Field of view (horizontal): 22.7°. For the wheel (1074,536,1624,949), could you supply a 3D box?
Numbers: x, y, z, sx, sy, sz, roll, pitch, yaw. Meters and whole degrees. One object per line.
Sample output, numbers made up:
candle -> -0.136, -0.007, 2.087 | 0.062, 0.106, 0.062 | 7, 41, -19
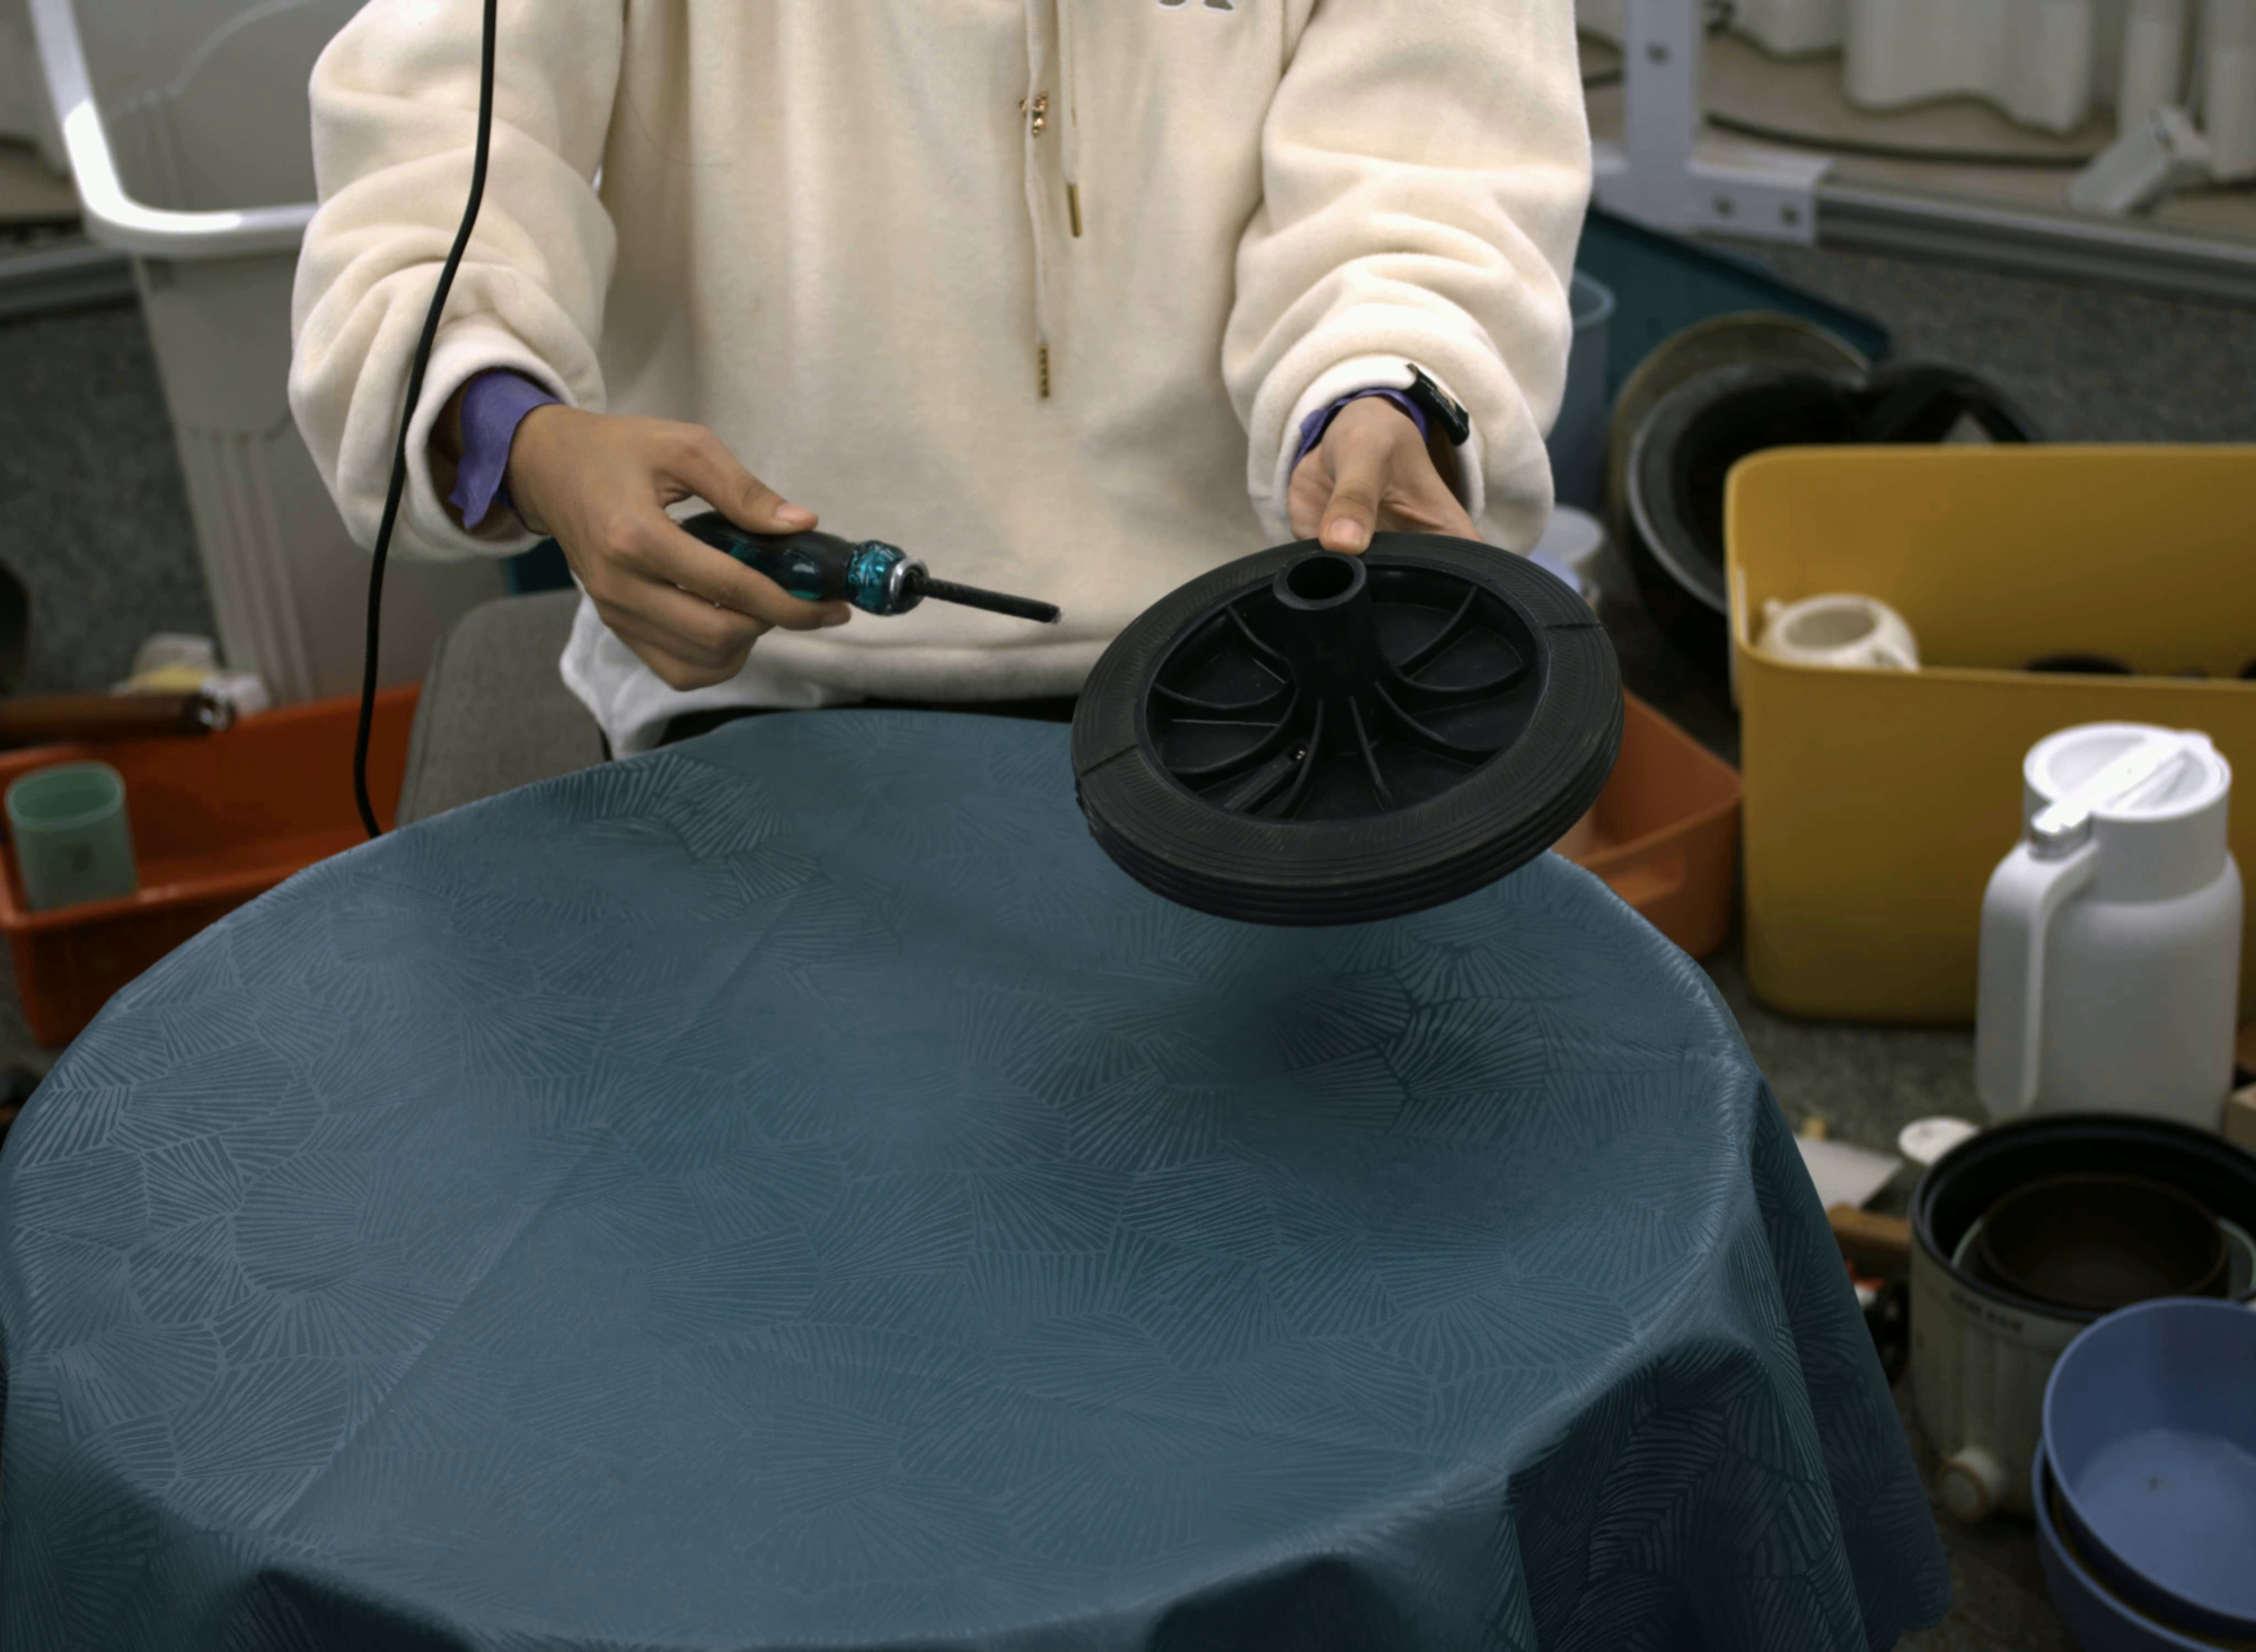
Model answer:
wheel -> 0.070, -0.047, 1.886 | 0.186, 0.078, 0.194 | 7, 45, 22

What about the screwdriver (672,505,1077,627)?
screwdriver -> -0.088, -0.087, 1.983 | 0.189, 0.033, 0.034 | 13, 31, 40
